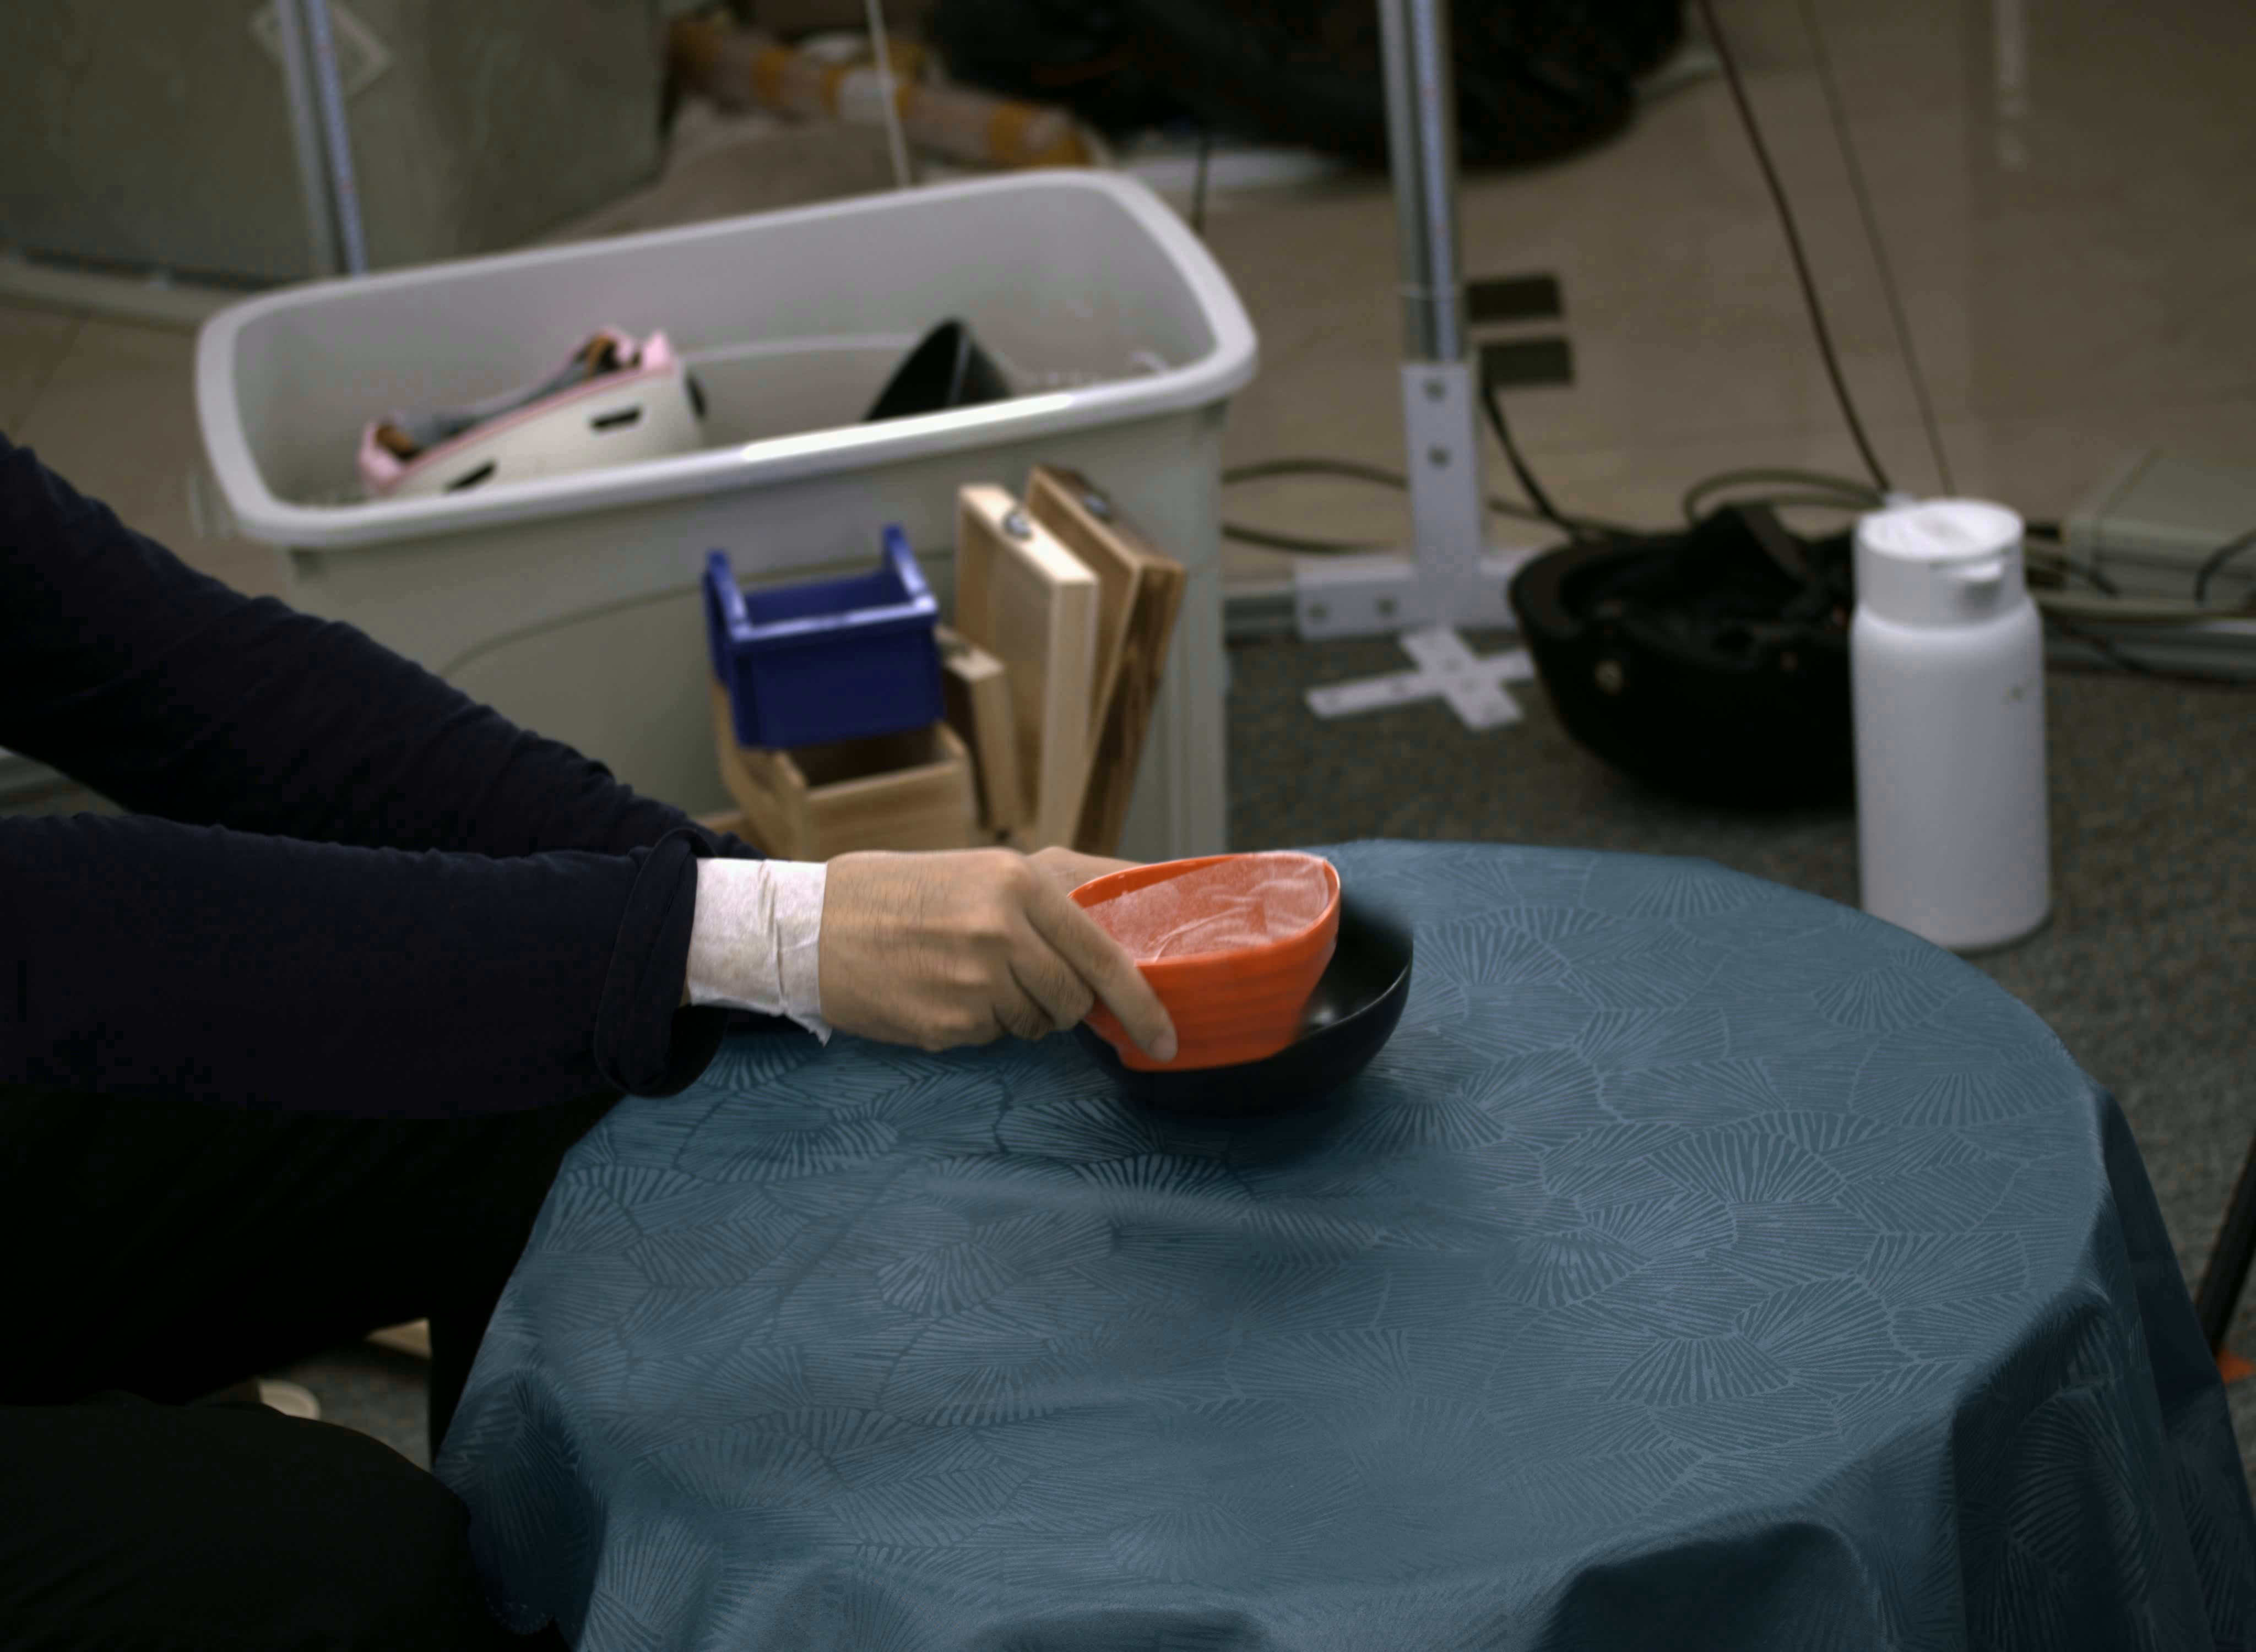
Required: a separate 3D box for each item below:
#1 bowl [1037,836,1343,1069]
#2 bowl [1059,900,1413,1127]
[{"bbox_3d":[0.024,0.050,2.057,0.119,0.052,0.117,-5,27,2],"label":"bowl"},{"bbox_3d":[0.045,0.079,2.217,0.140,0.050,0.138,-10,24,5],"label":"bowl"}]
